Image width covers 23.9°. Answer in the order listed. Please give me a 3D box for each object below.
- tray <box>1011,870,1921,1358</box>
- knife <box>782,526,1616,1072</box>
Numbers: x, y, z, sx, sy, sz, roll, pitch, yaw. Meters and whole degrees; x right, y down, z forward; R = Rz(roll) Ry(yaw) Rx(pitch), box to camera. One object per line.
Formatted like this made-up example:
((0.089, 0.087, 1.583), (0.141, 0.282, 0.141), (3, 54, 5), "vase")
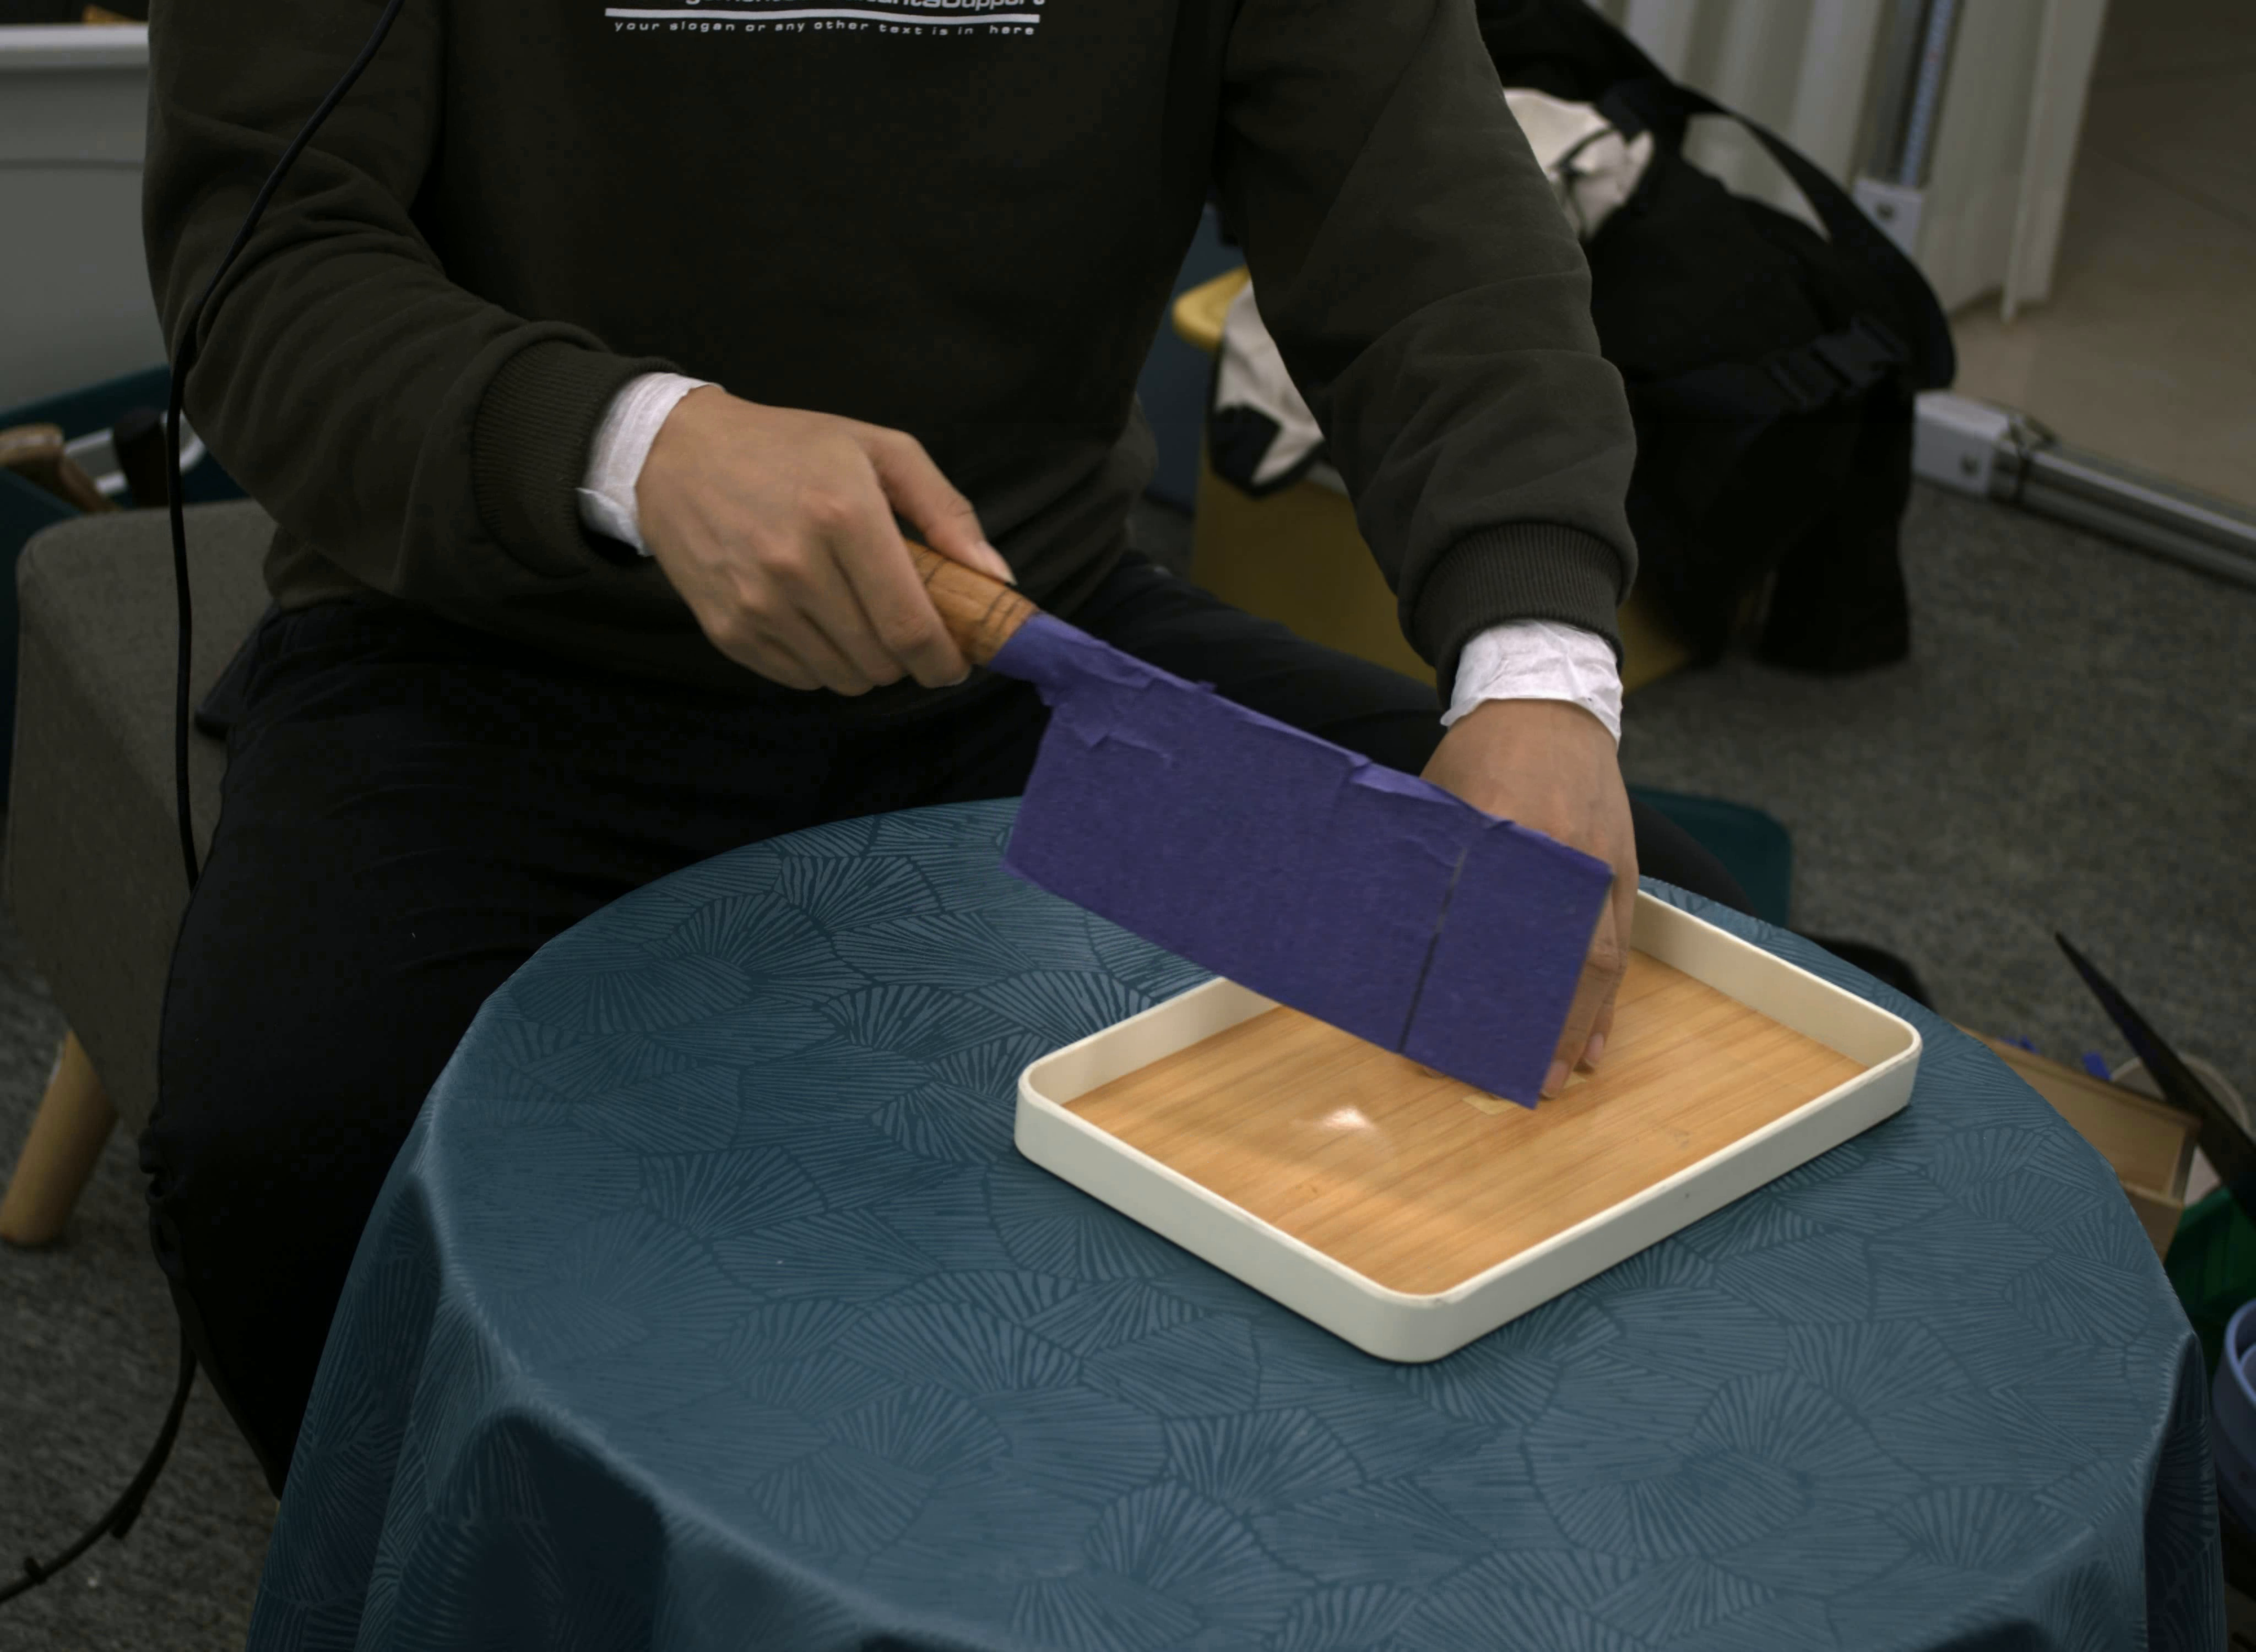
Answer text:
((0.121, 0.091, 1.867), (0.193, 0.027, 0.299), (26, 33, 35), "tray")
((0.011, -0.007, 1.807), (0.316, 0.104, 0.032), (23, 15, 22), "knife")
